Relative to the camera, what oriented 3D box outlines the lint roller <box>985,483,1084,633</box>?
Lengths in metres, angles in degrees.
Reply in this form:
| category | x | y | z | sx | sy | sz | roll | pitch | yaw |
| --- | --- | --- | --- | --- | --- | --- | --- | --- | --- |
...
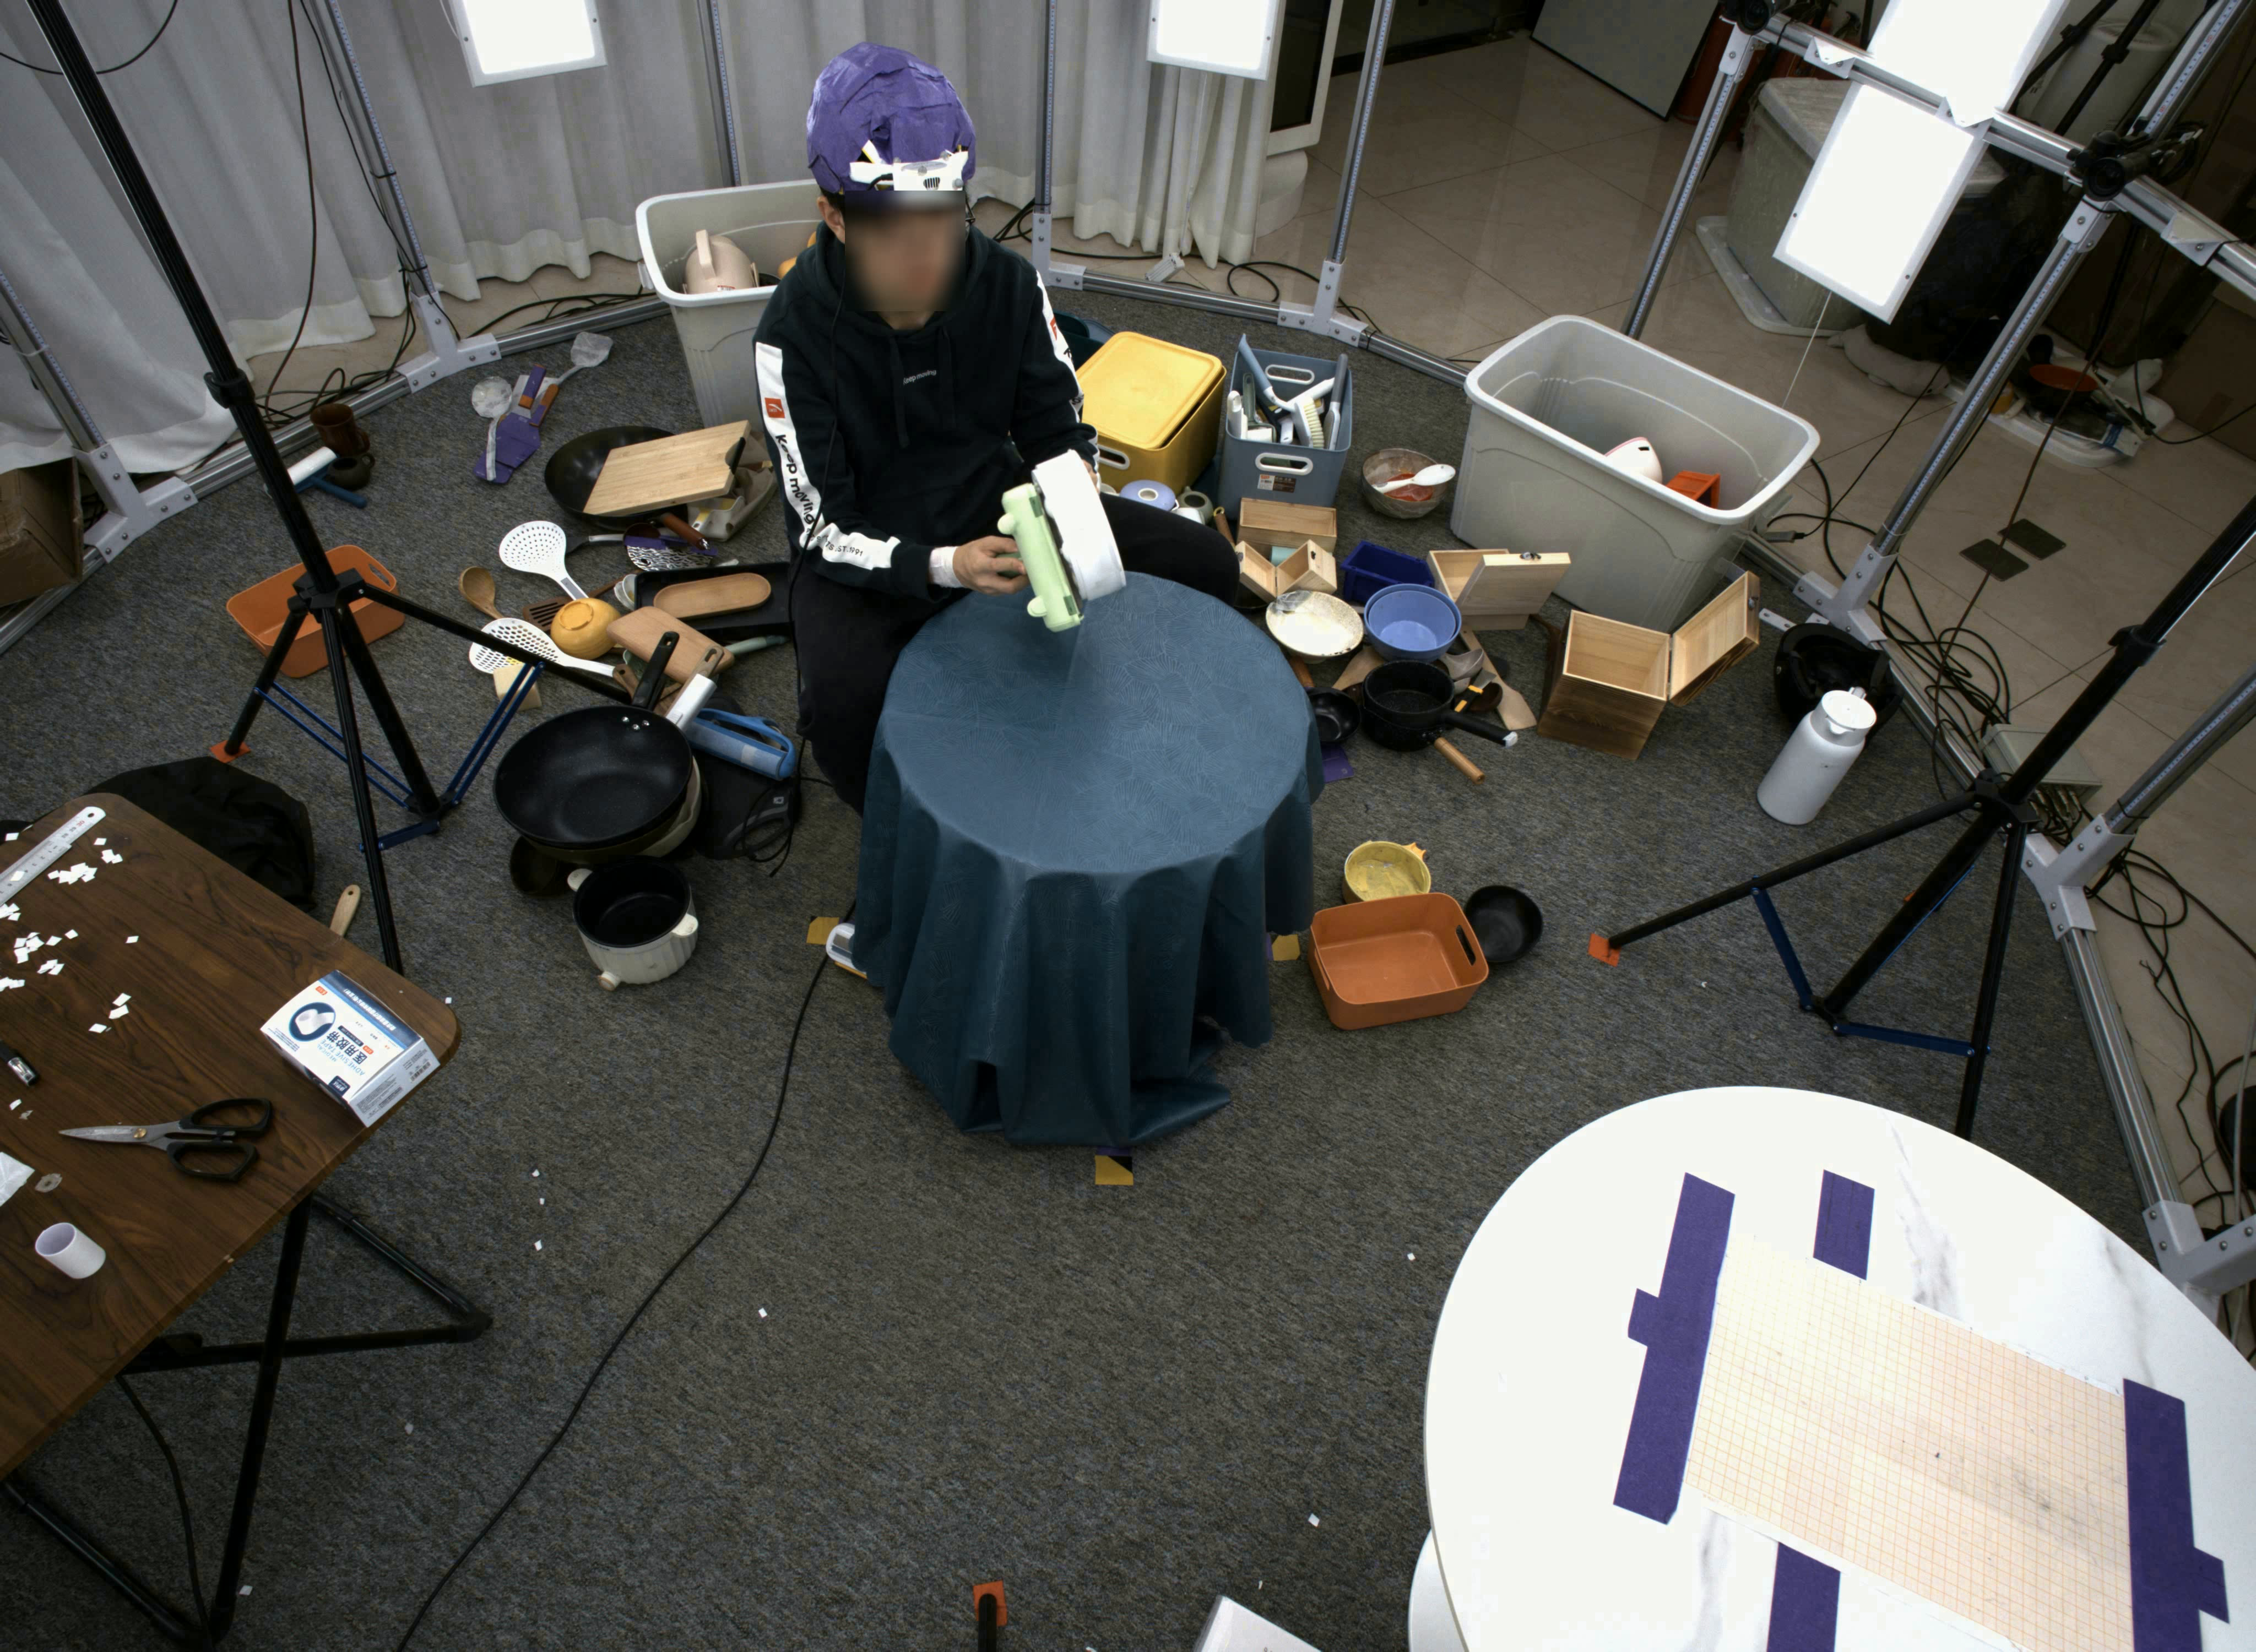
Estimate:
| category | x | y | z | sx | sy | sz | roll | pitch | yaw |
| --- | --- | --- | --- | --- | --- | --- | --- | --- | --- |
| lint roller | -0.156 | -0.353 | 1.751 | 0.184 | 0.196 | 0.083 | -2 | 24 | 47 |

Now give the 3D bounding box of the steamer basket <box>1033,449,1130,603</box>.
| category | x | y | z | sx | sy | sz | roll | pitch | yaw |
| --- | --- | --- | --- | --- | --- | --- | --- | --- | --- |
| steamer basket | -0.064 | -0.400 | 1.736 | 0.069 | 0.197 | 0.236 | -22 | 35 | 5 |
